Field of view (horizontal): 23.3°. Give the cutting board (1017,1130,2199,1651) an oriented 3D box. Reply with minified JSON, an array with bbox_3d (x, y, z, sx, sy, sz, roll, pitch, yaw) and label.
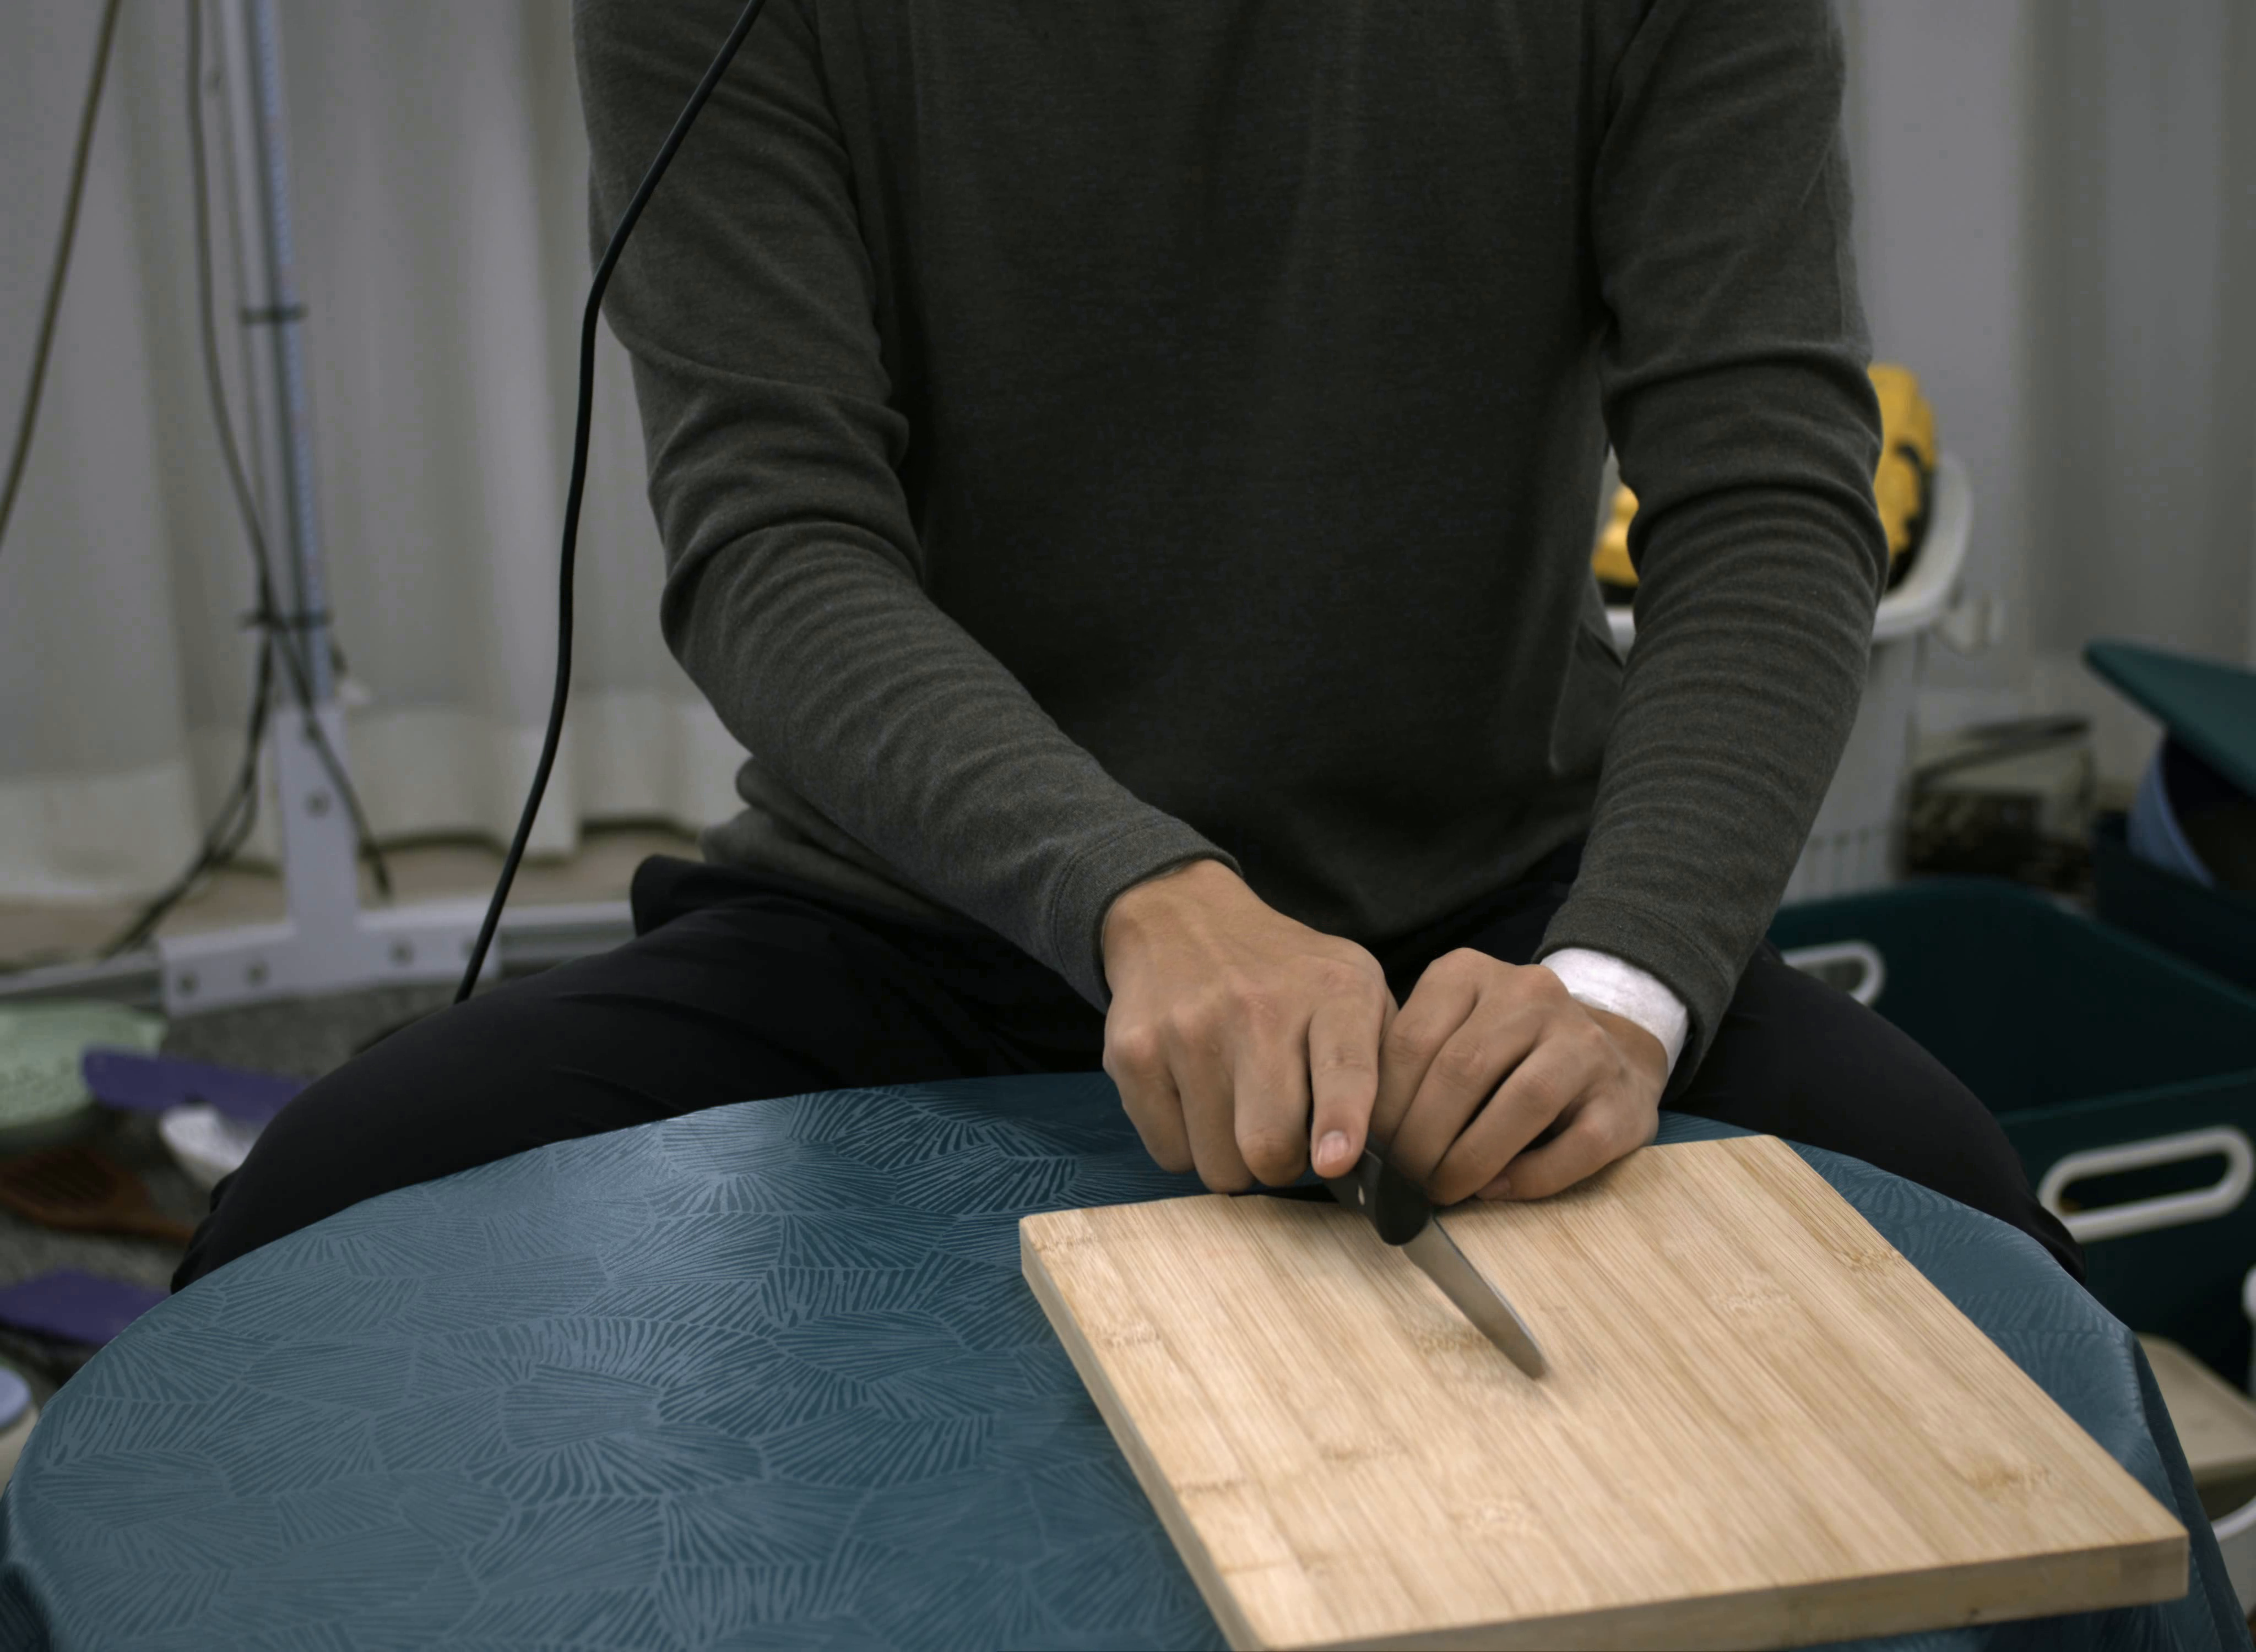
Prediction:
[{"bbox_3d":[0.117,0.155,1.512,0.249,0.023,0.351,-5,15,-11],"label":"cutting board"}]

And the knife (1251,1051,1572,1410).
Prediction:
[{"bbox_3d":[0.080,0.113,1.570,0.016,0.024,0.240,-13,23,-15],"label":"knife"}]
